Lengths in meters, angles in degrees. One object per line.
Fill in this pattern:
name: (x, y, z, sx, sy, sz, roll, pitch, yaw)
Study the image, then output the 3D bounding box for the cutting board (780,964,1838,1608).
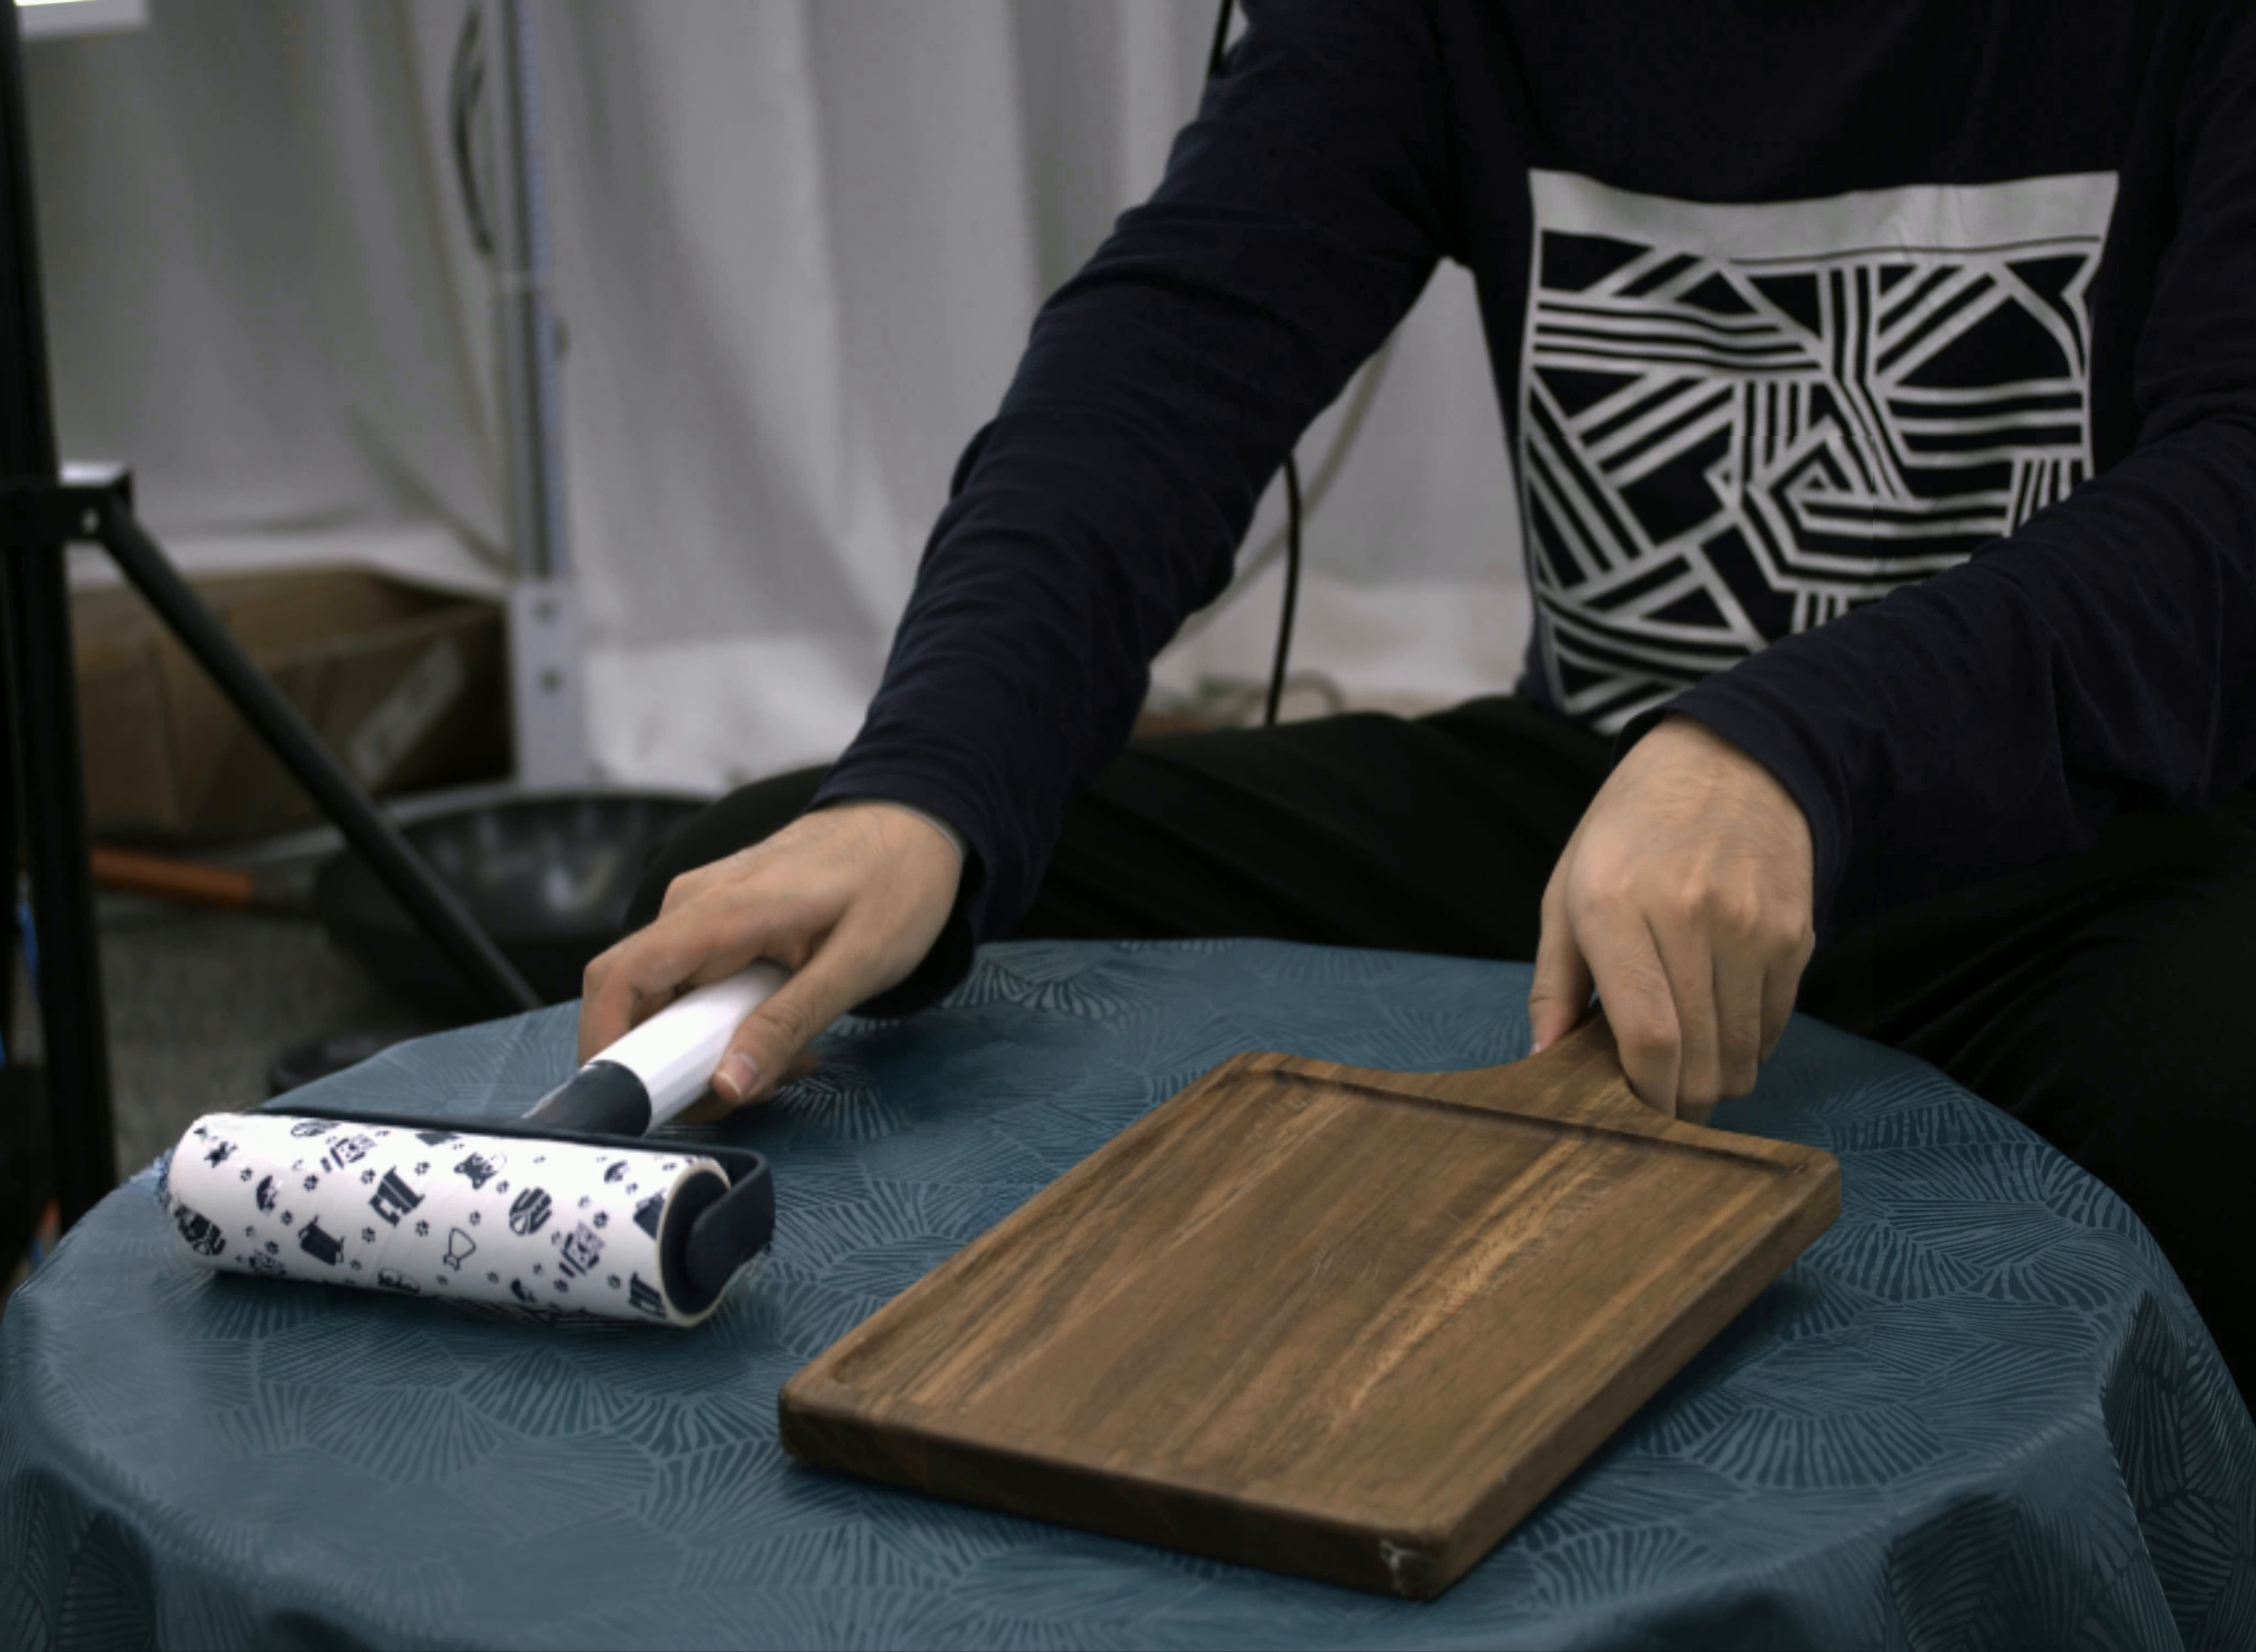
cutting board: (0.078, 0.110, 1.449, 0.205, 0.023, 0.346, 8, 24, 30)

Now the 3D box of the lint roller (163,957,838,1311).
lint roller: (-0.150, 0.078, 1.583, 0.179, 0.050, 0.244, 3, 18, 24)
